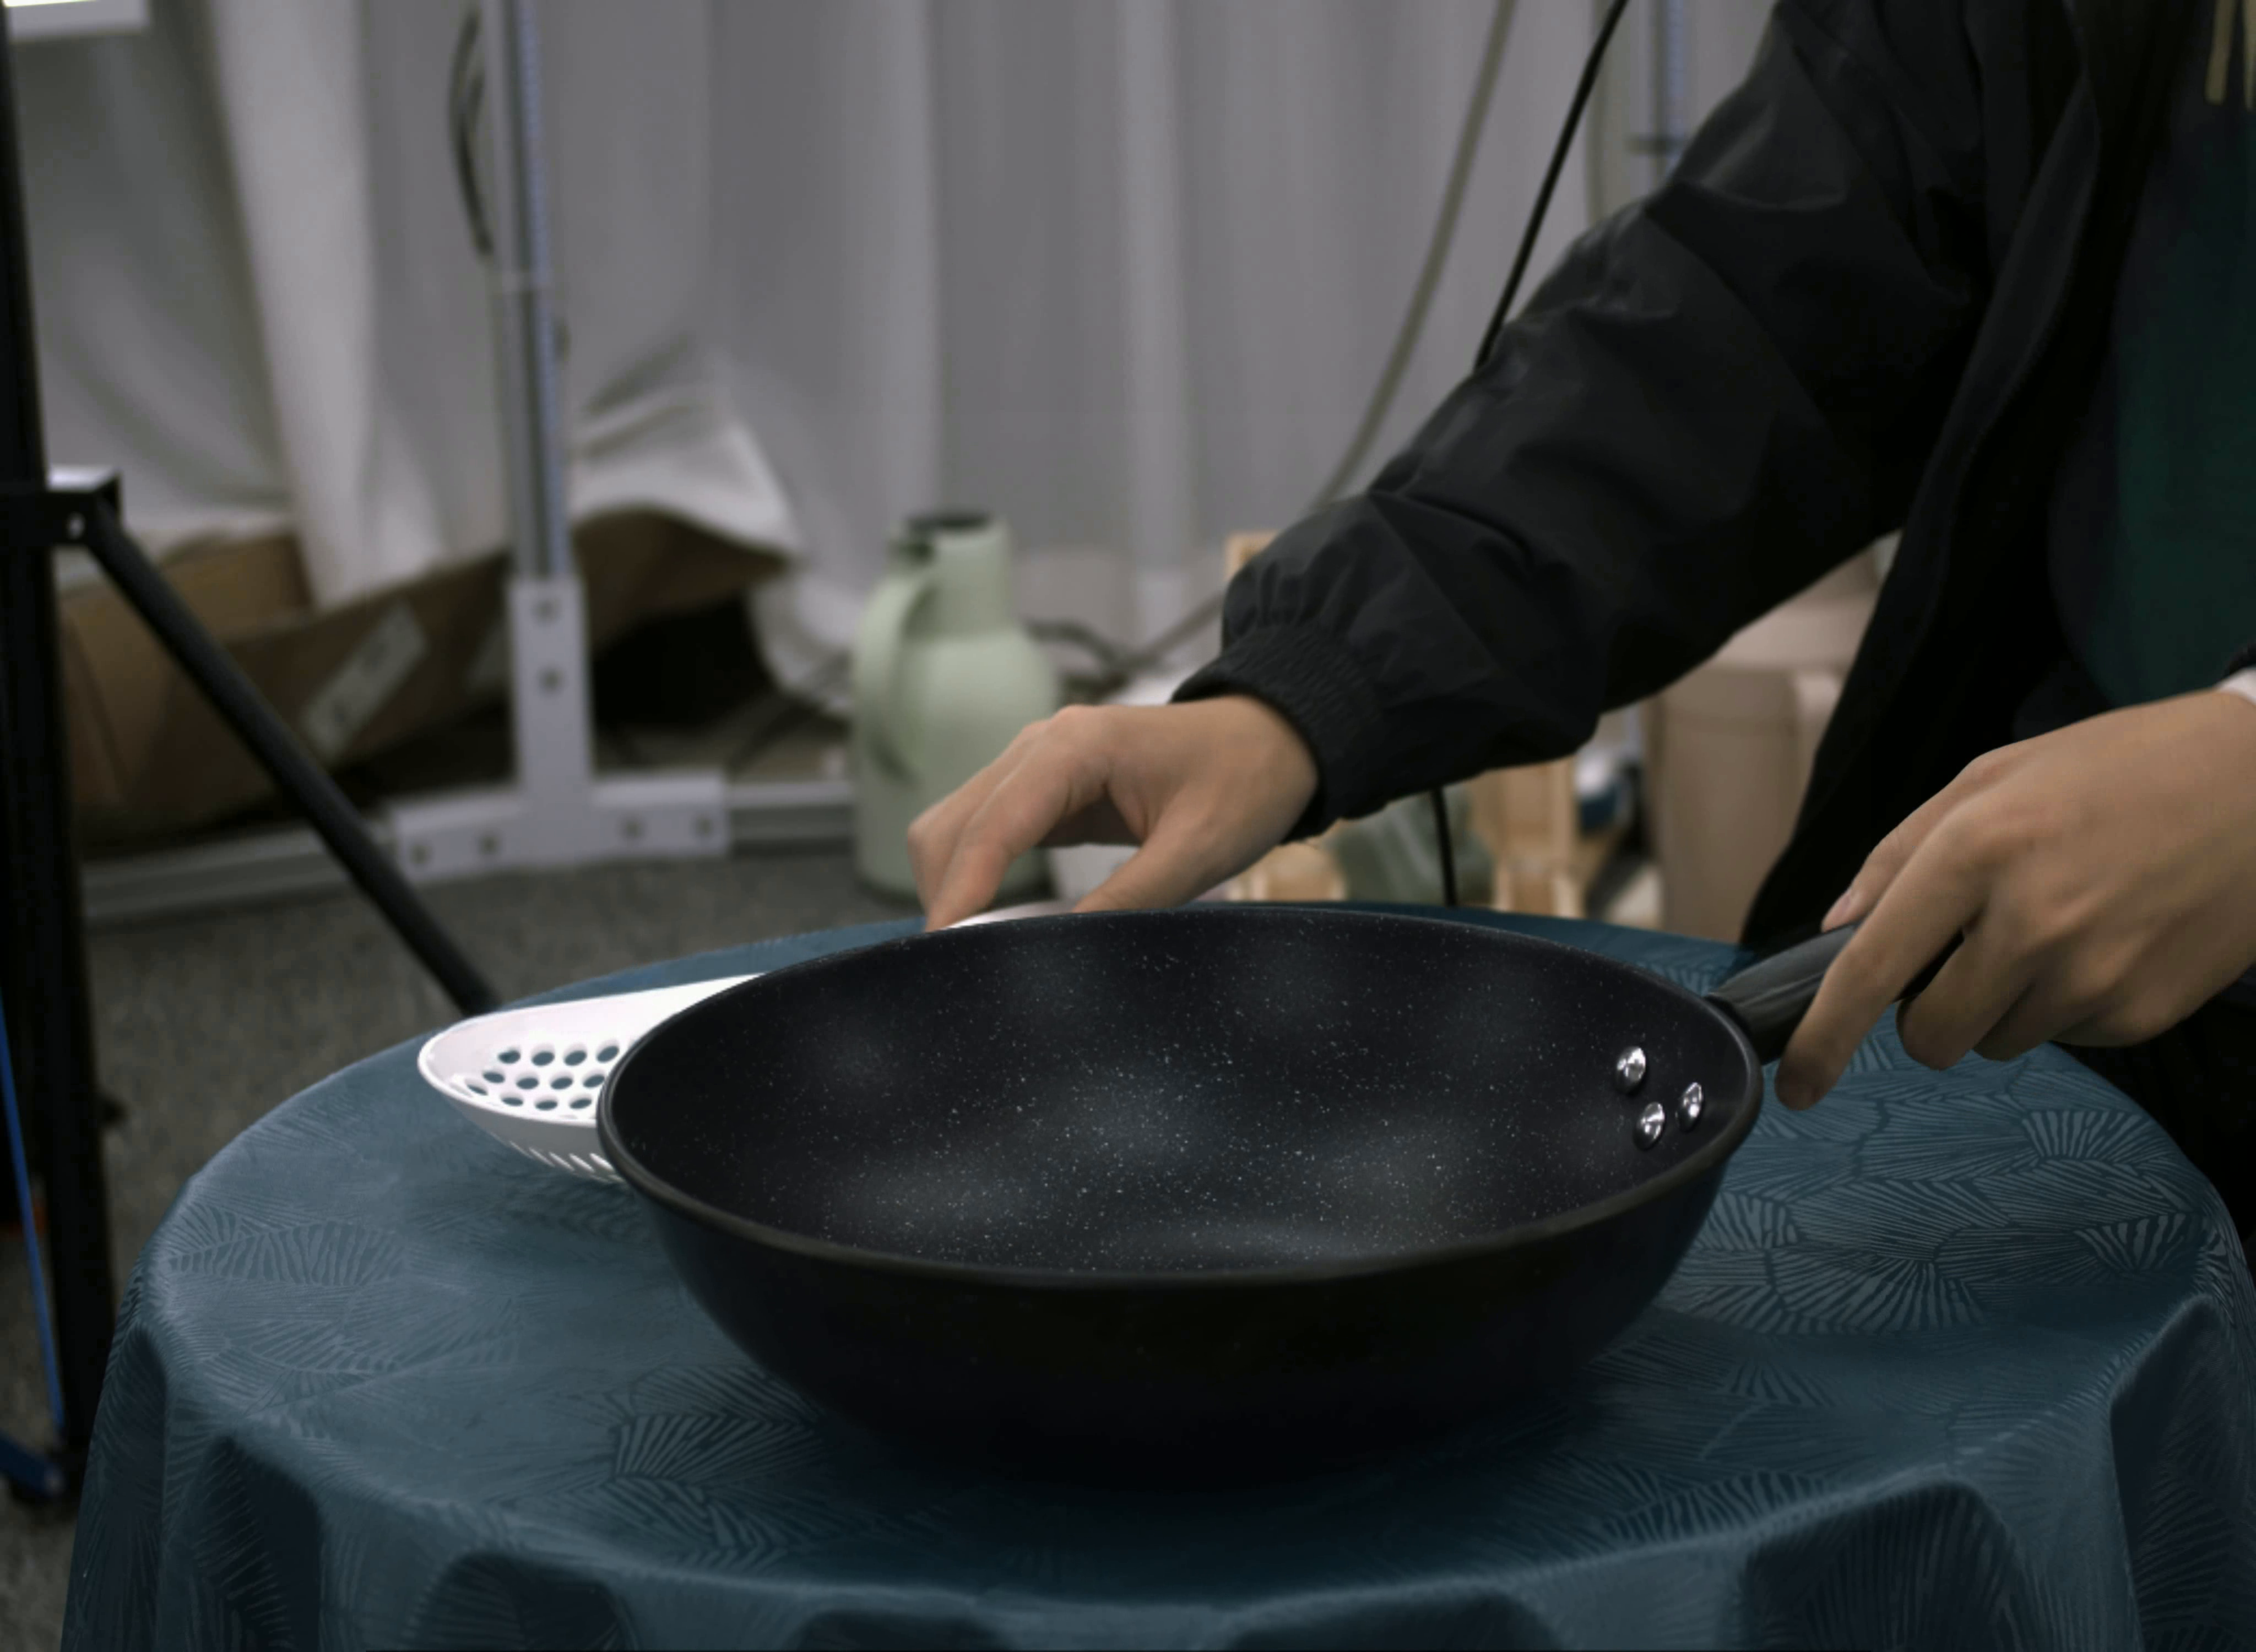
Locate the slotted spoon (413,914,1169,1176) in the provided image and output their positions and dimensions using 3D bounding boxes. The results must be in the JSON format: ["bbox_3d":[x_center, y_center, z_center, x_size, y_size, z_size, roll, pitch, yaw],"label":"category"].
[{"bbox_3d":[-0.081,0.057,1.676,0.139,0.050,0.341,8,19,34],"label":"slotted spoon"}]

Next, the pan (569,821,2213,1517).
[{"bbox_3d":[0.086,0.086,1.429,0.468,0.111,0.316,-9,18,-19],"label":"pan"}]
